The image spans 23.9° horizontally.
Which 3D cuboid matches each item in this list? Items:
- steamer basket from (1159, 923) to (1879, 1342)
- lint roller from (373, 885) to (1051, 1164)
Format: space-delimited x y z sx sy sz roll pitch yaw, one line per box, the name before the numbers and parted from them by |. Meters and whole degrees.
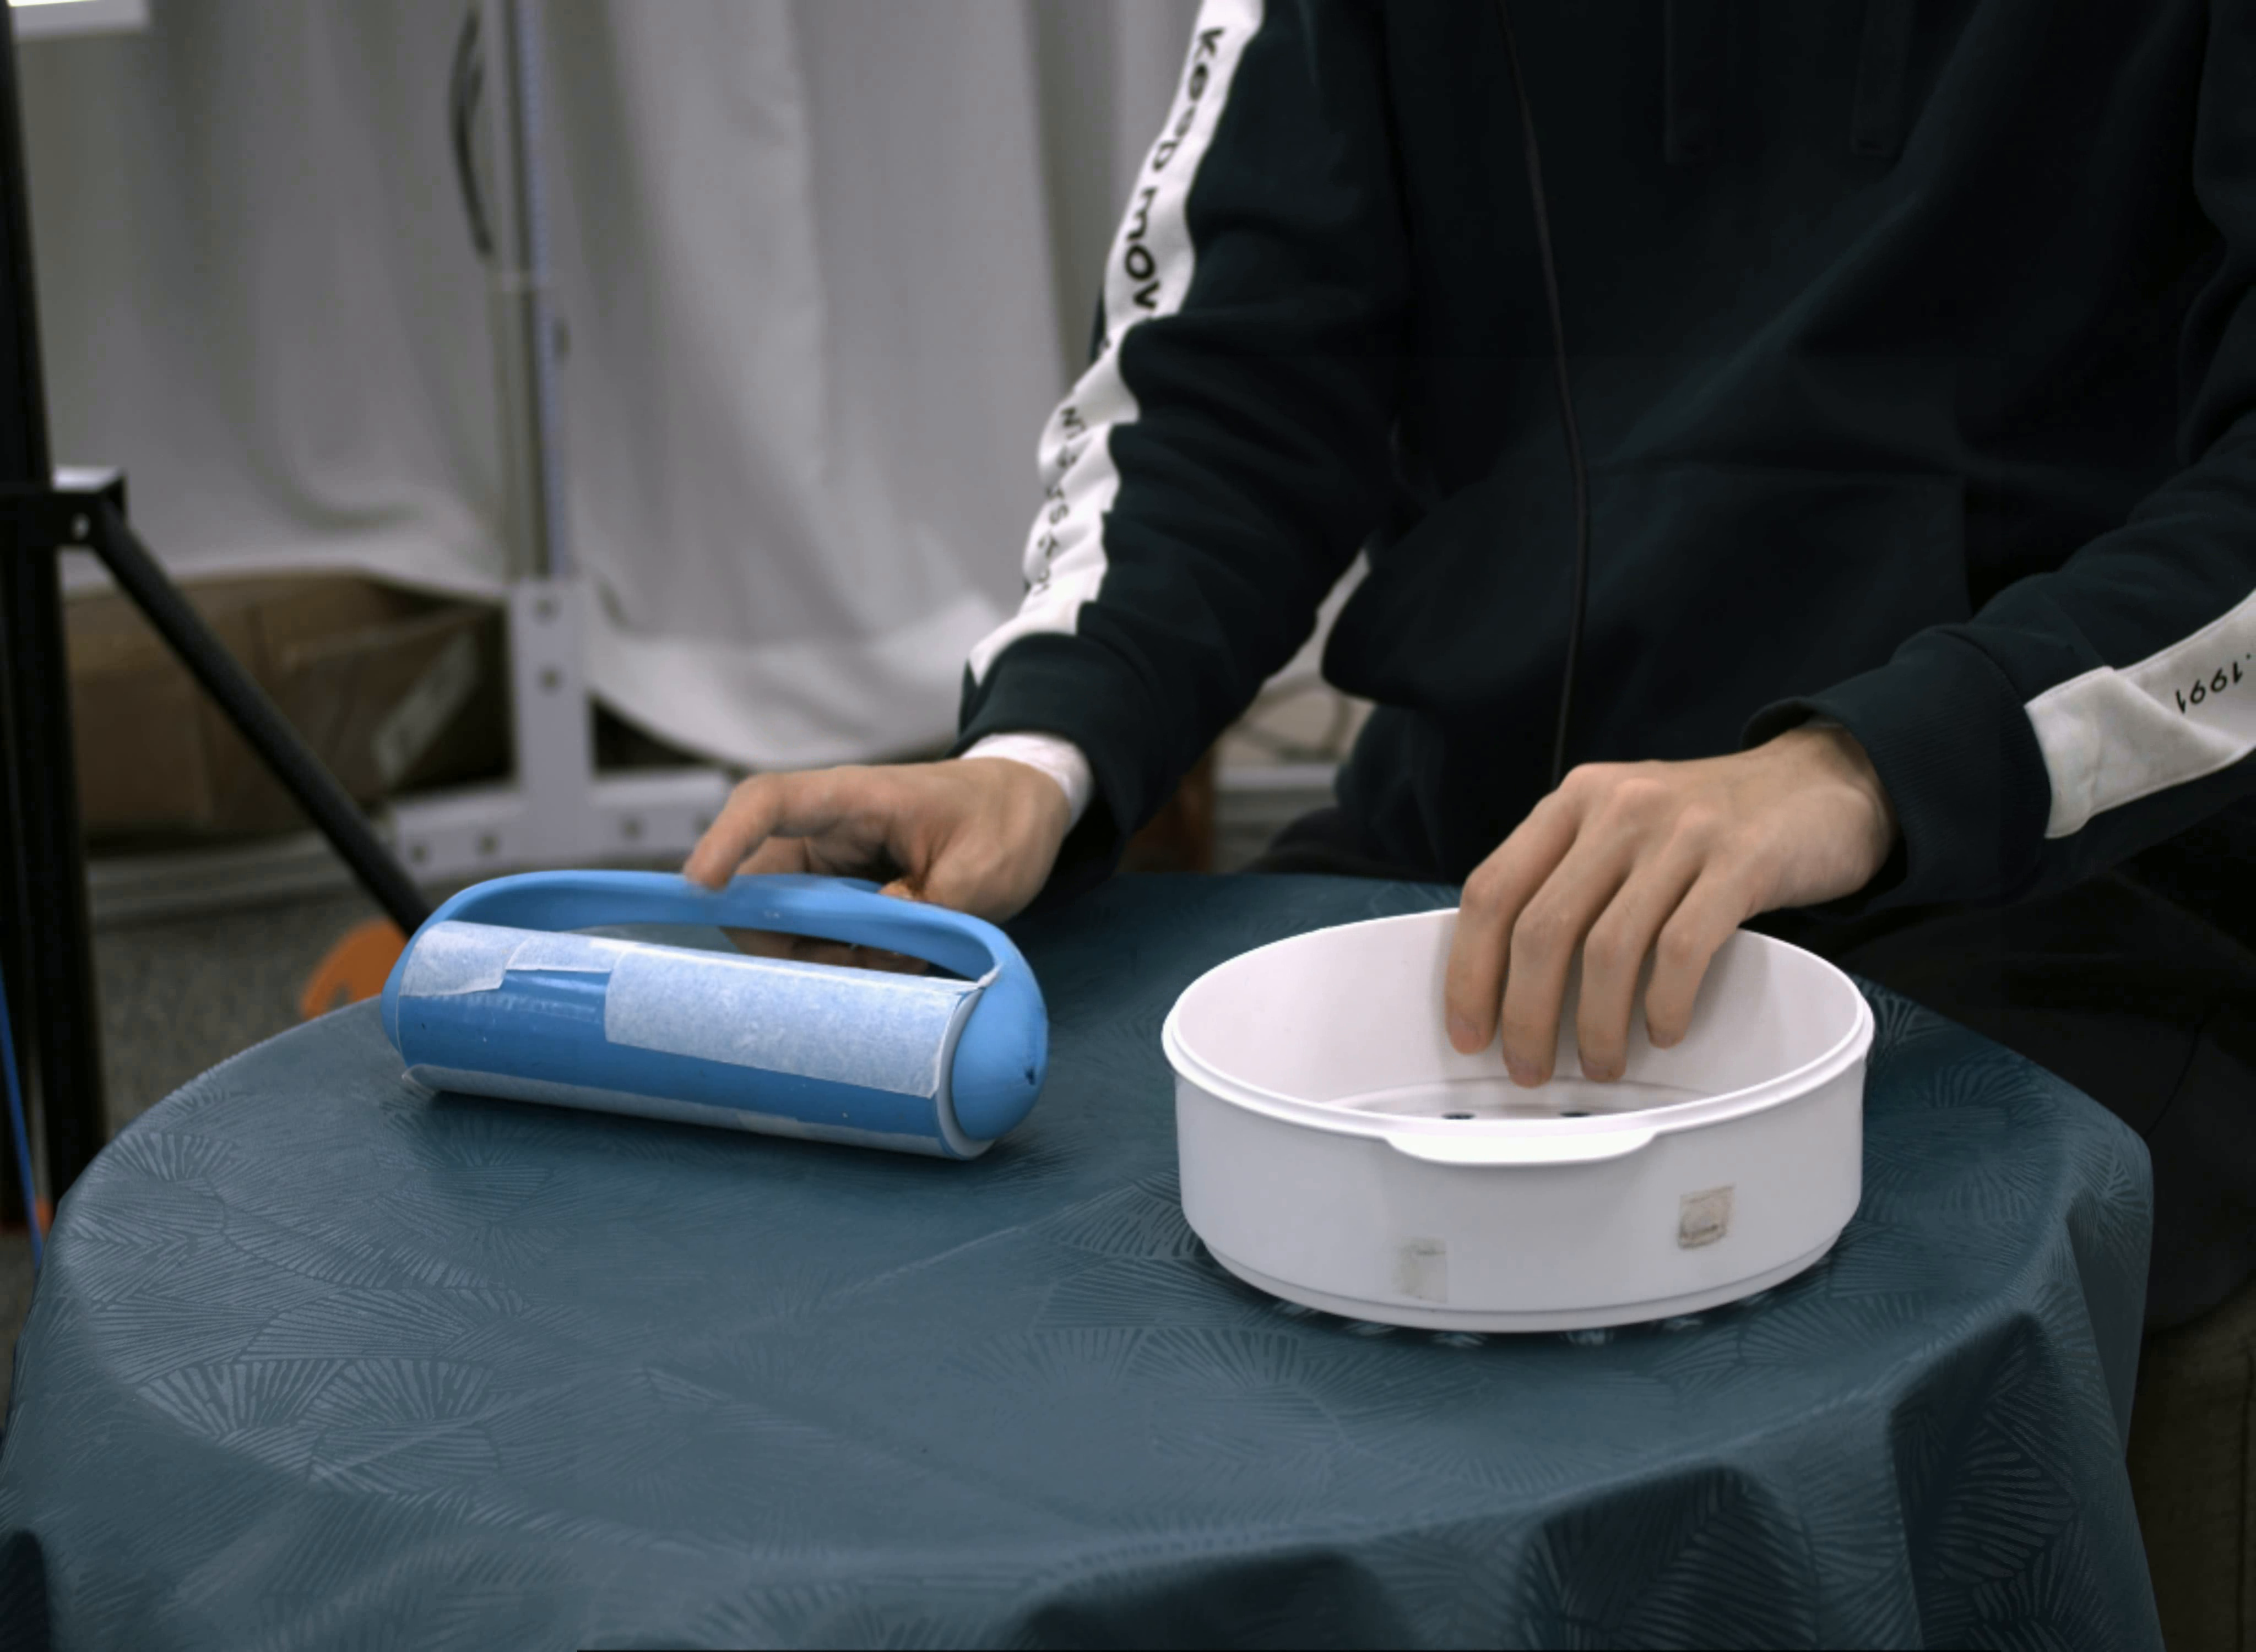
steamer basket | 0.110 0.086 1.494 0.202 0.069 0.230 0 15 5
lint roller | -0.108 0.050 1.680 0.232 0.068 0.178 2 17 24
